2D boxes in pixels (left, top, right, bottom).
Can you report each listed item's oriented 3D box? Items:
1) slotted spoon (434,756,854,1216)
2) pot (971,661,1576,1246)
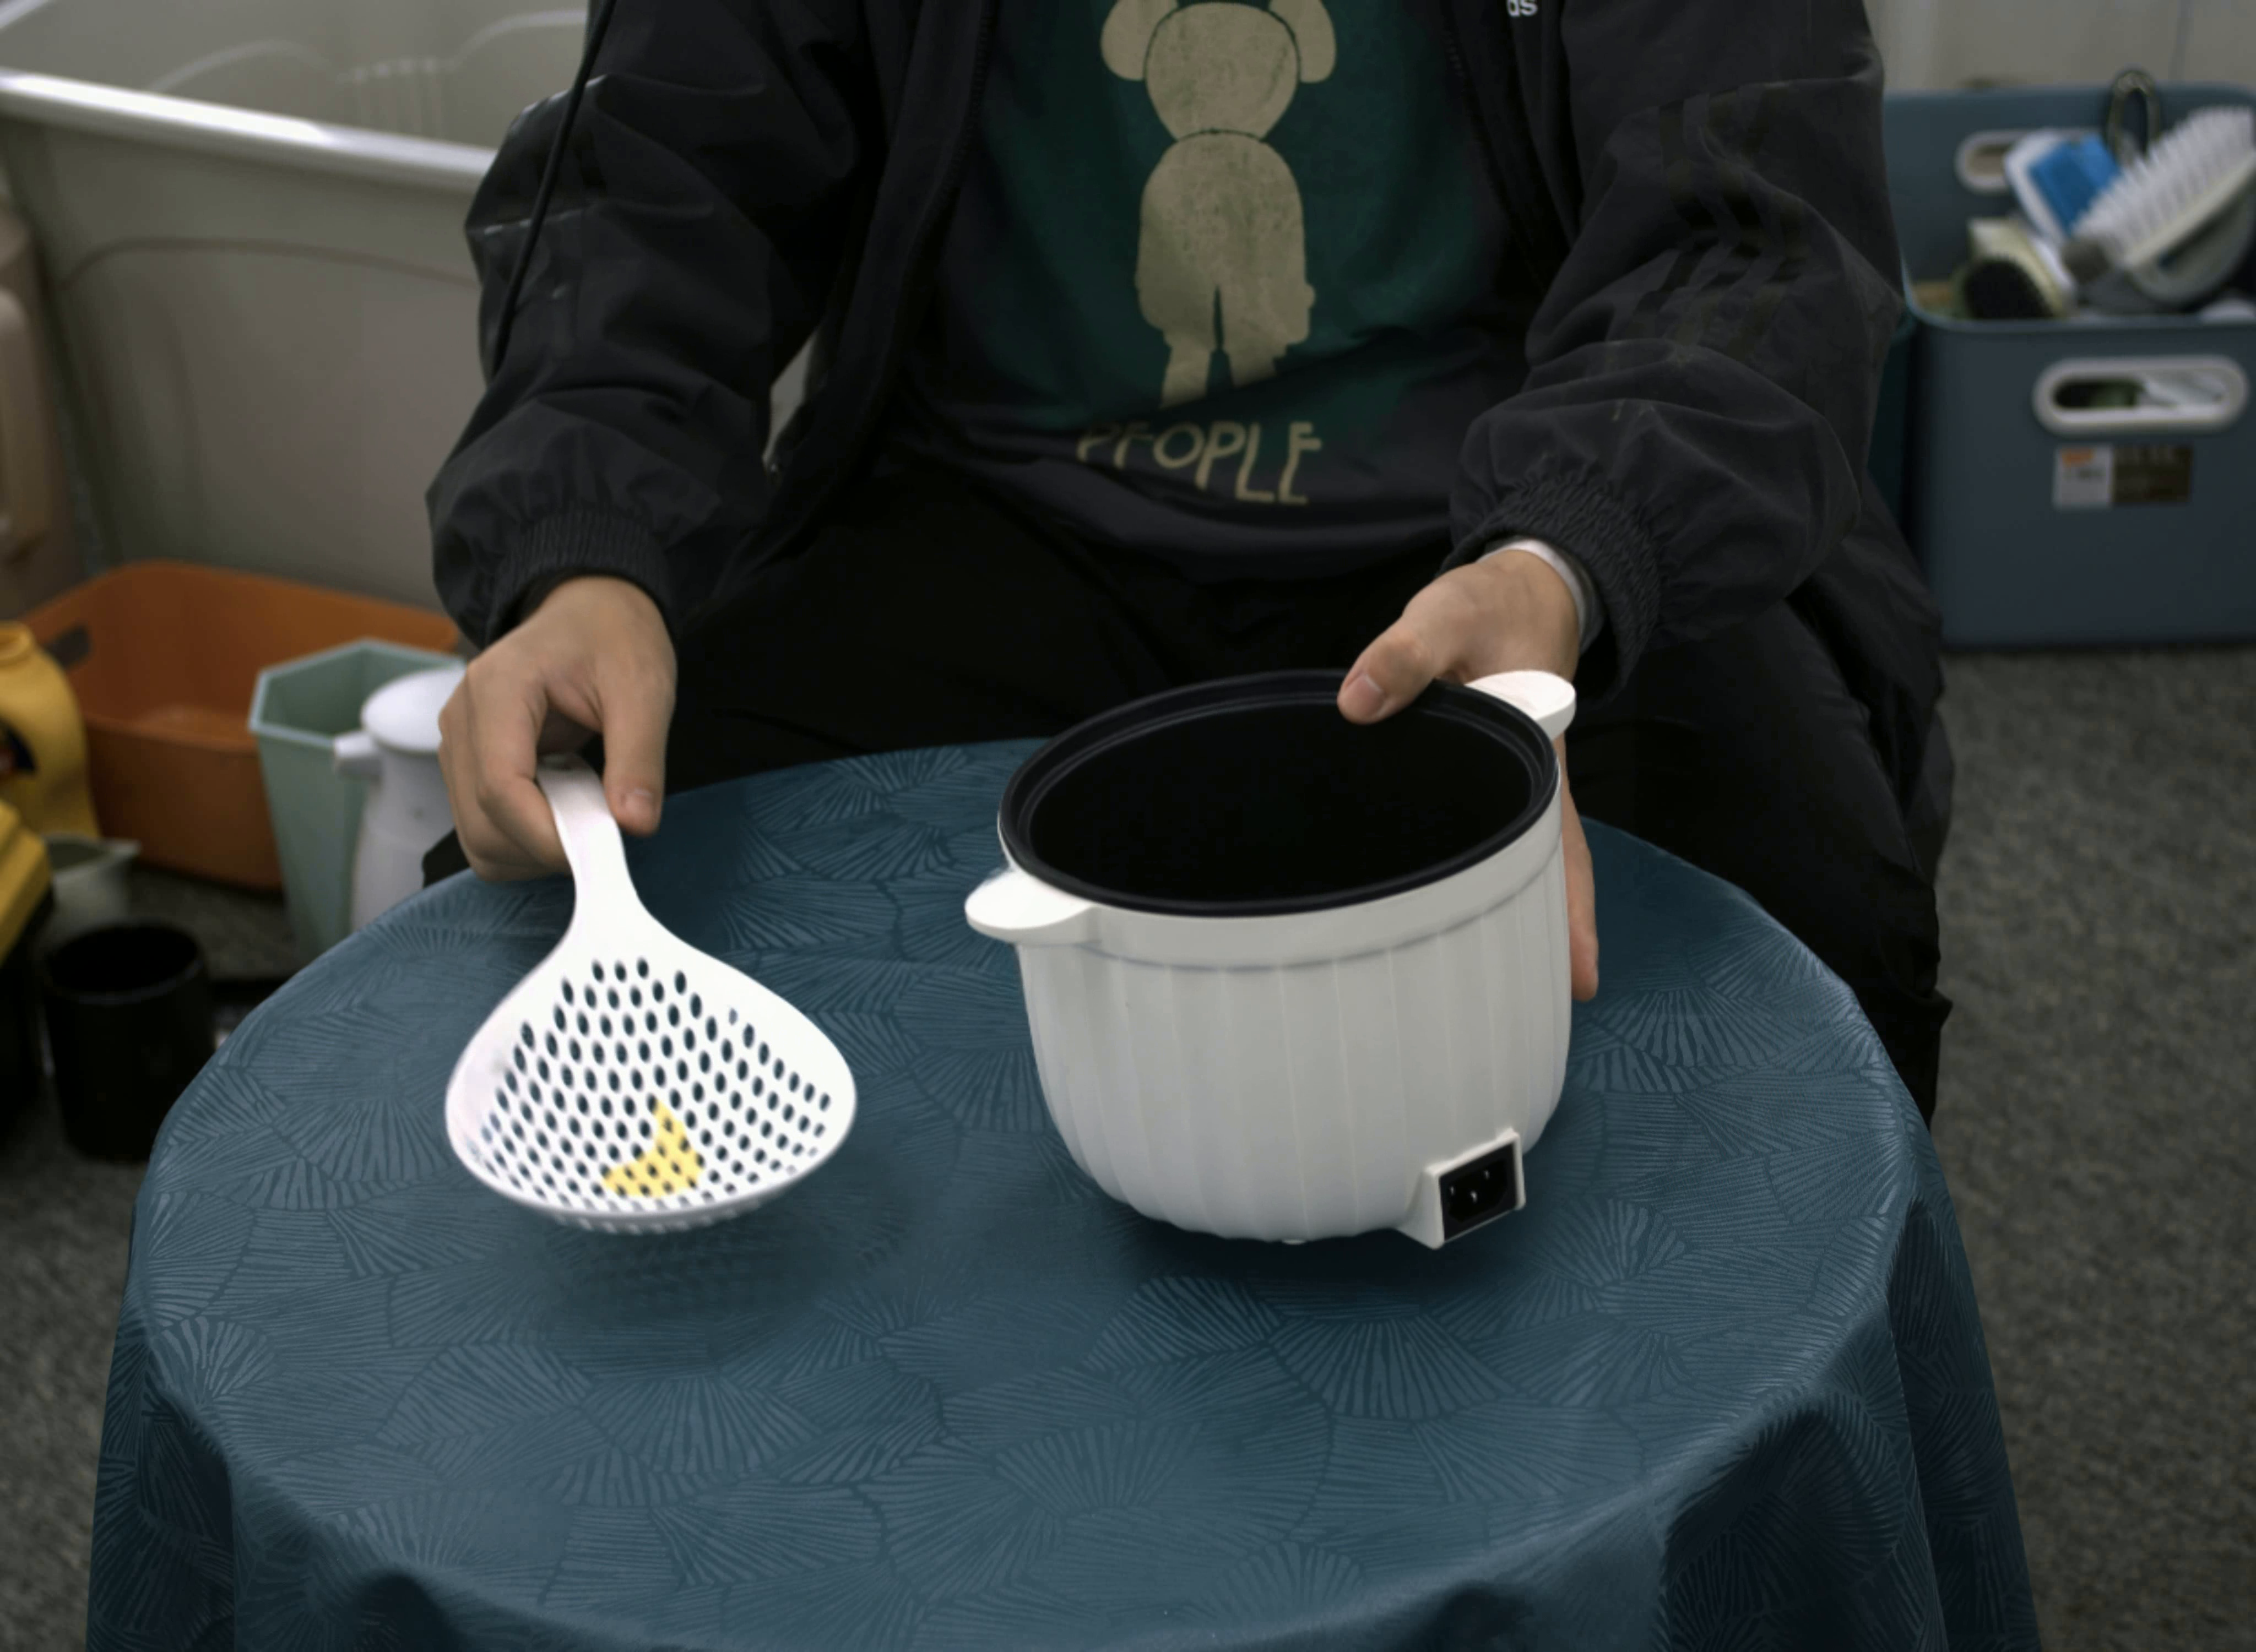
[{"bbox_3d":[-0.179,0.043,1.930,0.136,0.049,0.352,-6,31,-10],"label":"slotted spoon"},{"bbox_3d":[0.050,0.043,1.828,0.242,0.141,0.190,-21,31,-33],"label":"pot"}]
